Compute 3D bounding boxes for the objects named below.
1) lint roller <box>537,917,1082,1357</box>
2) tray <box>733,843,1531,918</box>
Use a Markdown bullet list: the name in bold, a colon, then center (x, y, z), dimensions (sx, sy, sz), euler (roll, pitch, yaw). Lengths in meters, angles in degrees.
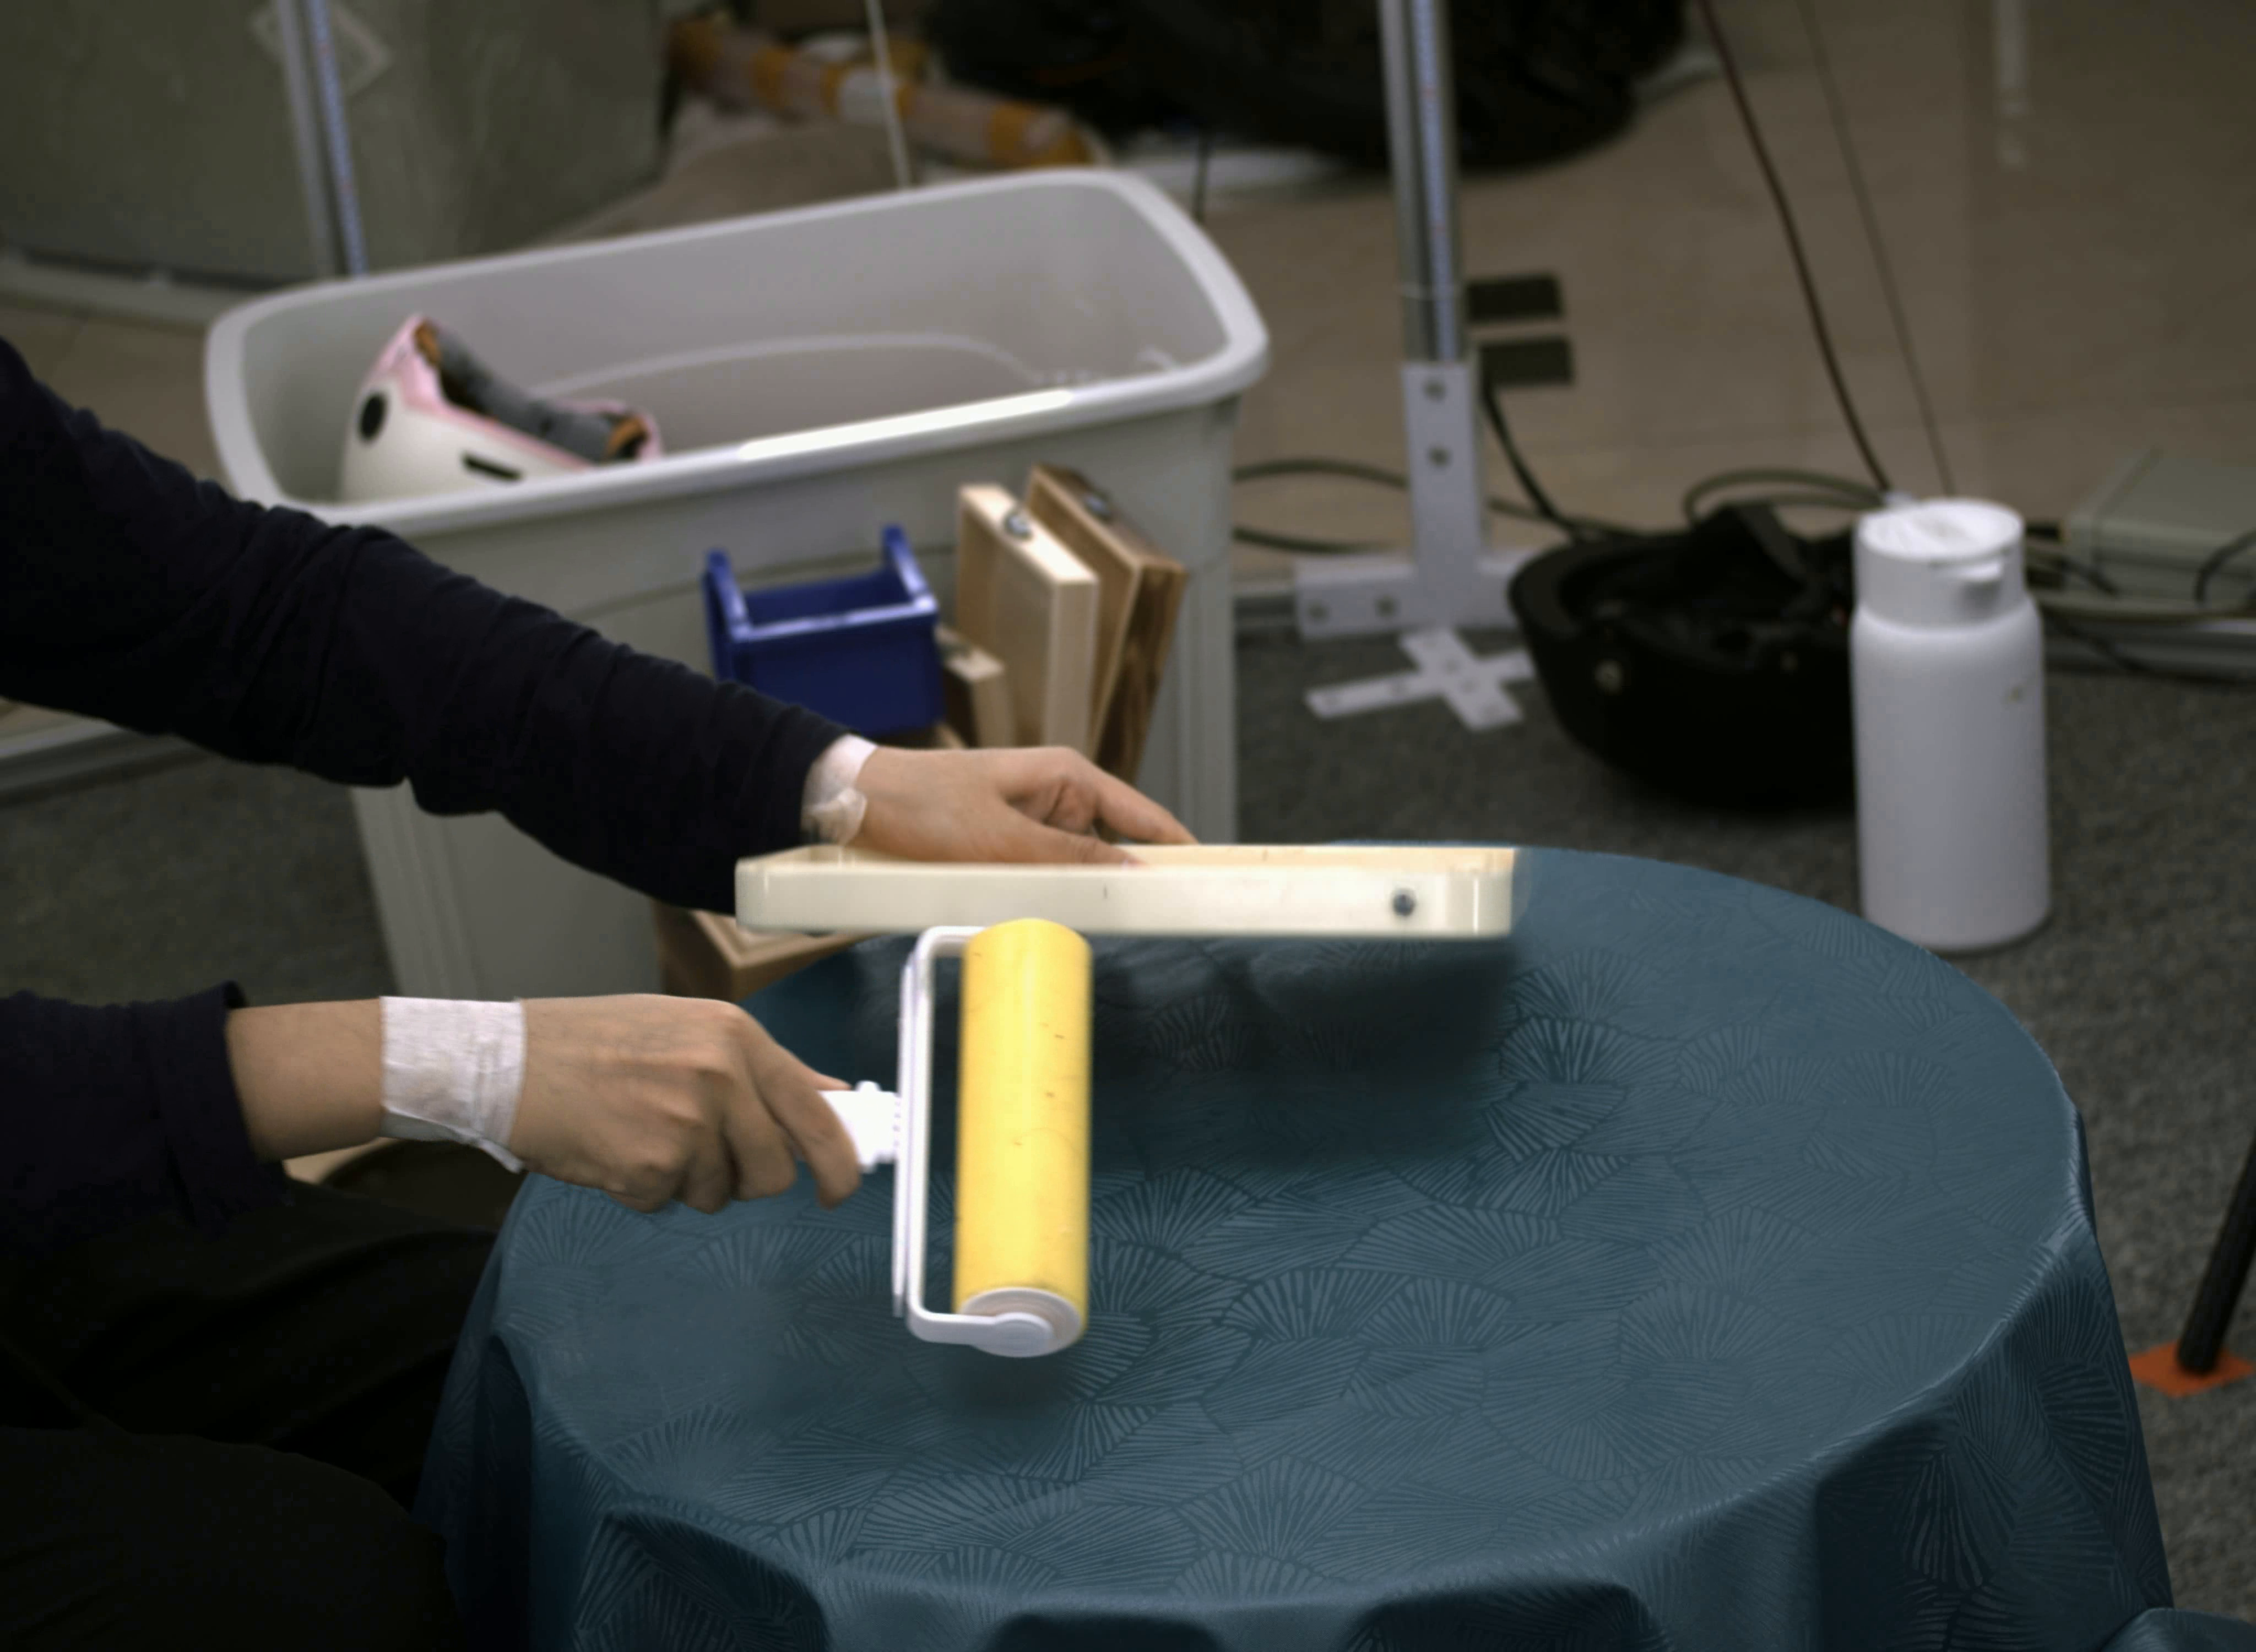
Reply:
- **lint roller**: center (-0.113, 0.104, 2.022), dimensions (0.192, 0.052, 0.171), euler (7, 53, -12)
- **tray**: center (0.006, 0.021, 2.236), dimensions (0.300, 0.027, 0.191), euler (0, 0, 7)
